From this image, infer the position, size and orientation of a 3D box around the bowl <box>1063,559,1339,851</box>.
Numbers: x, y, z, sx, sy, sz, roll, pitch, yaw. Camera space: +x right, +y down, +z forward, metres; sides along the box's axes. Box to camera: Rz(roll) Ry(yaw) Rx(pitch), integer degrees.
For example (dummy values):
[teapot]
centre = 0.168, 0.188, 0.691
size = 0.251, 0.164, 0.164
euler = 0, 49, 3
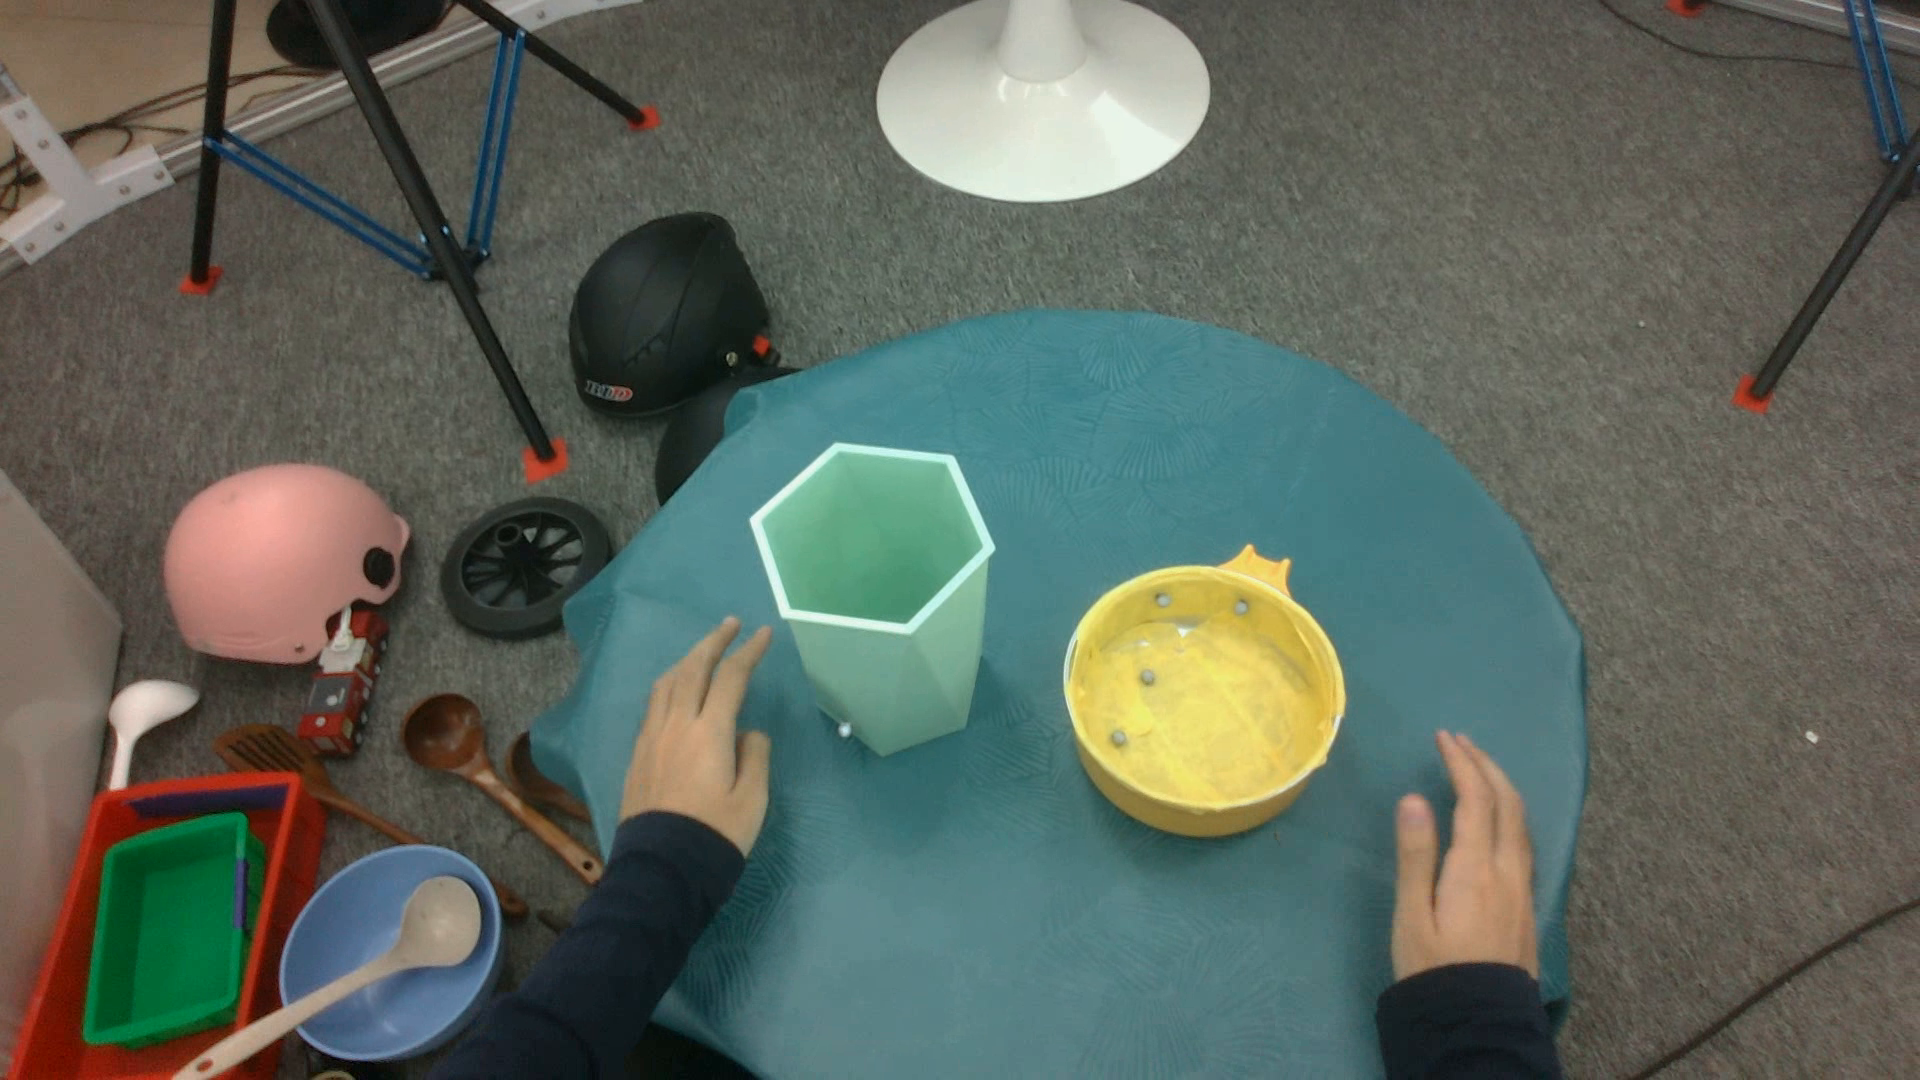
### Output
[bowl]
centre = 0.142, 0.095, 0.800
size = 0.153, 0.074, 0.180
euler = 19, 60, 17

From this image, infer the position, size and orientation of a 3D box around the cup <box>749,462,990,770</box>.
[cup]
centre = -0.041, 0.049, 0.787
size = 0.131, 0.162, 0.115
euler = 3, 57, 8
